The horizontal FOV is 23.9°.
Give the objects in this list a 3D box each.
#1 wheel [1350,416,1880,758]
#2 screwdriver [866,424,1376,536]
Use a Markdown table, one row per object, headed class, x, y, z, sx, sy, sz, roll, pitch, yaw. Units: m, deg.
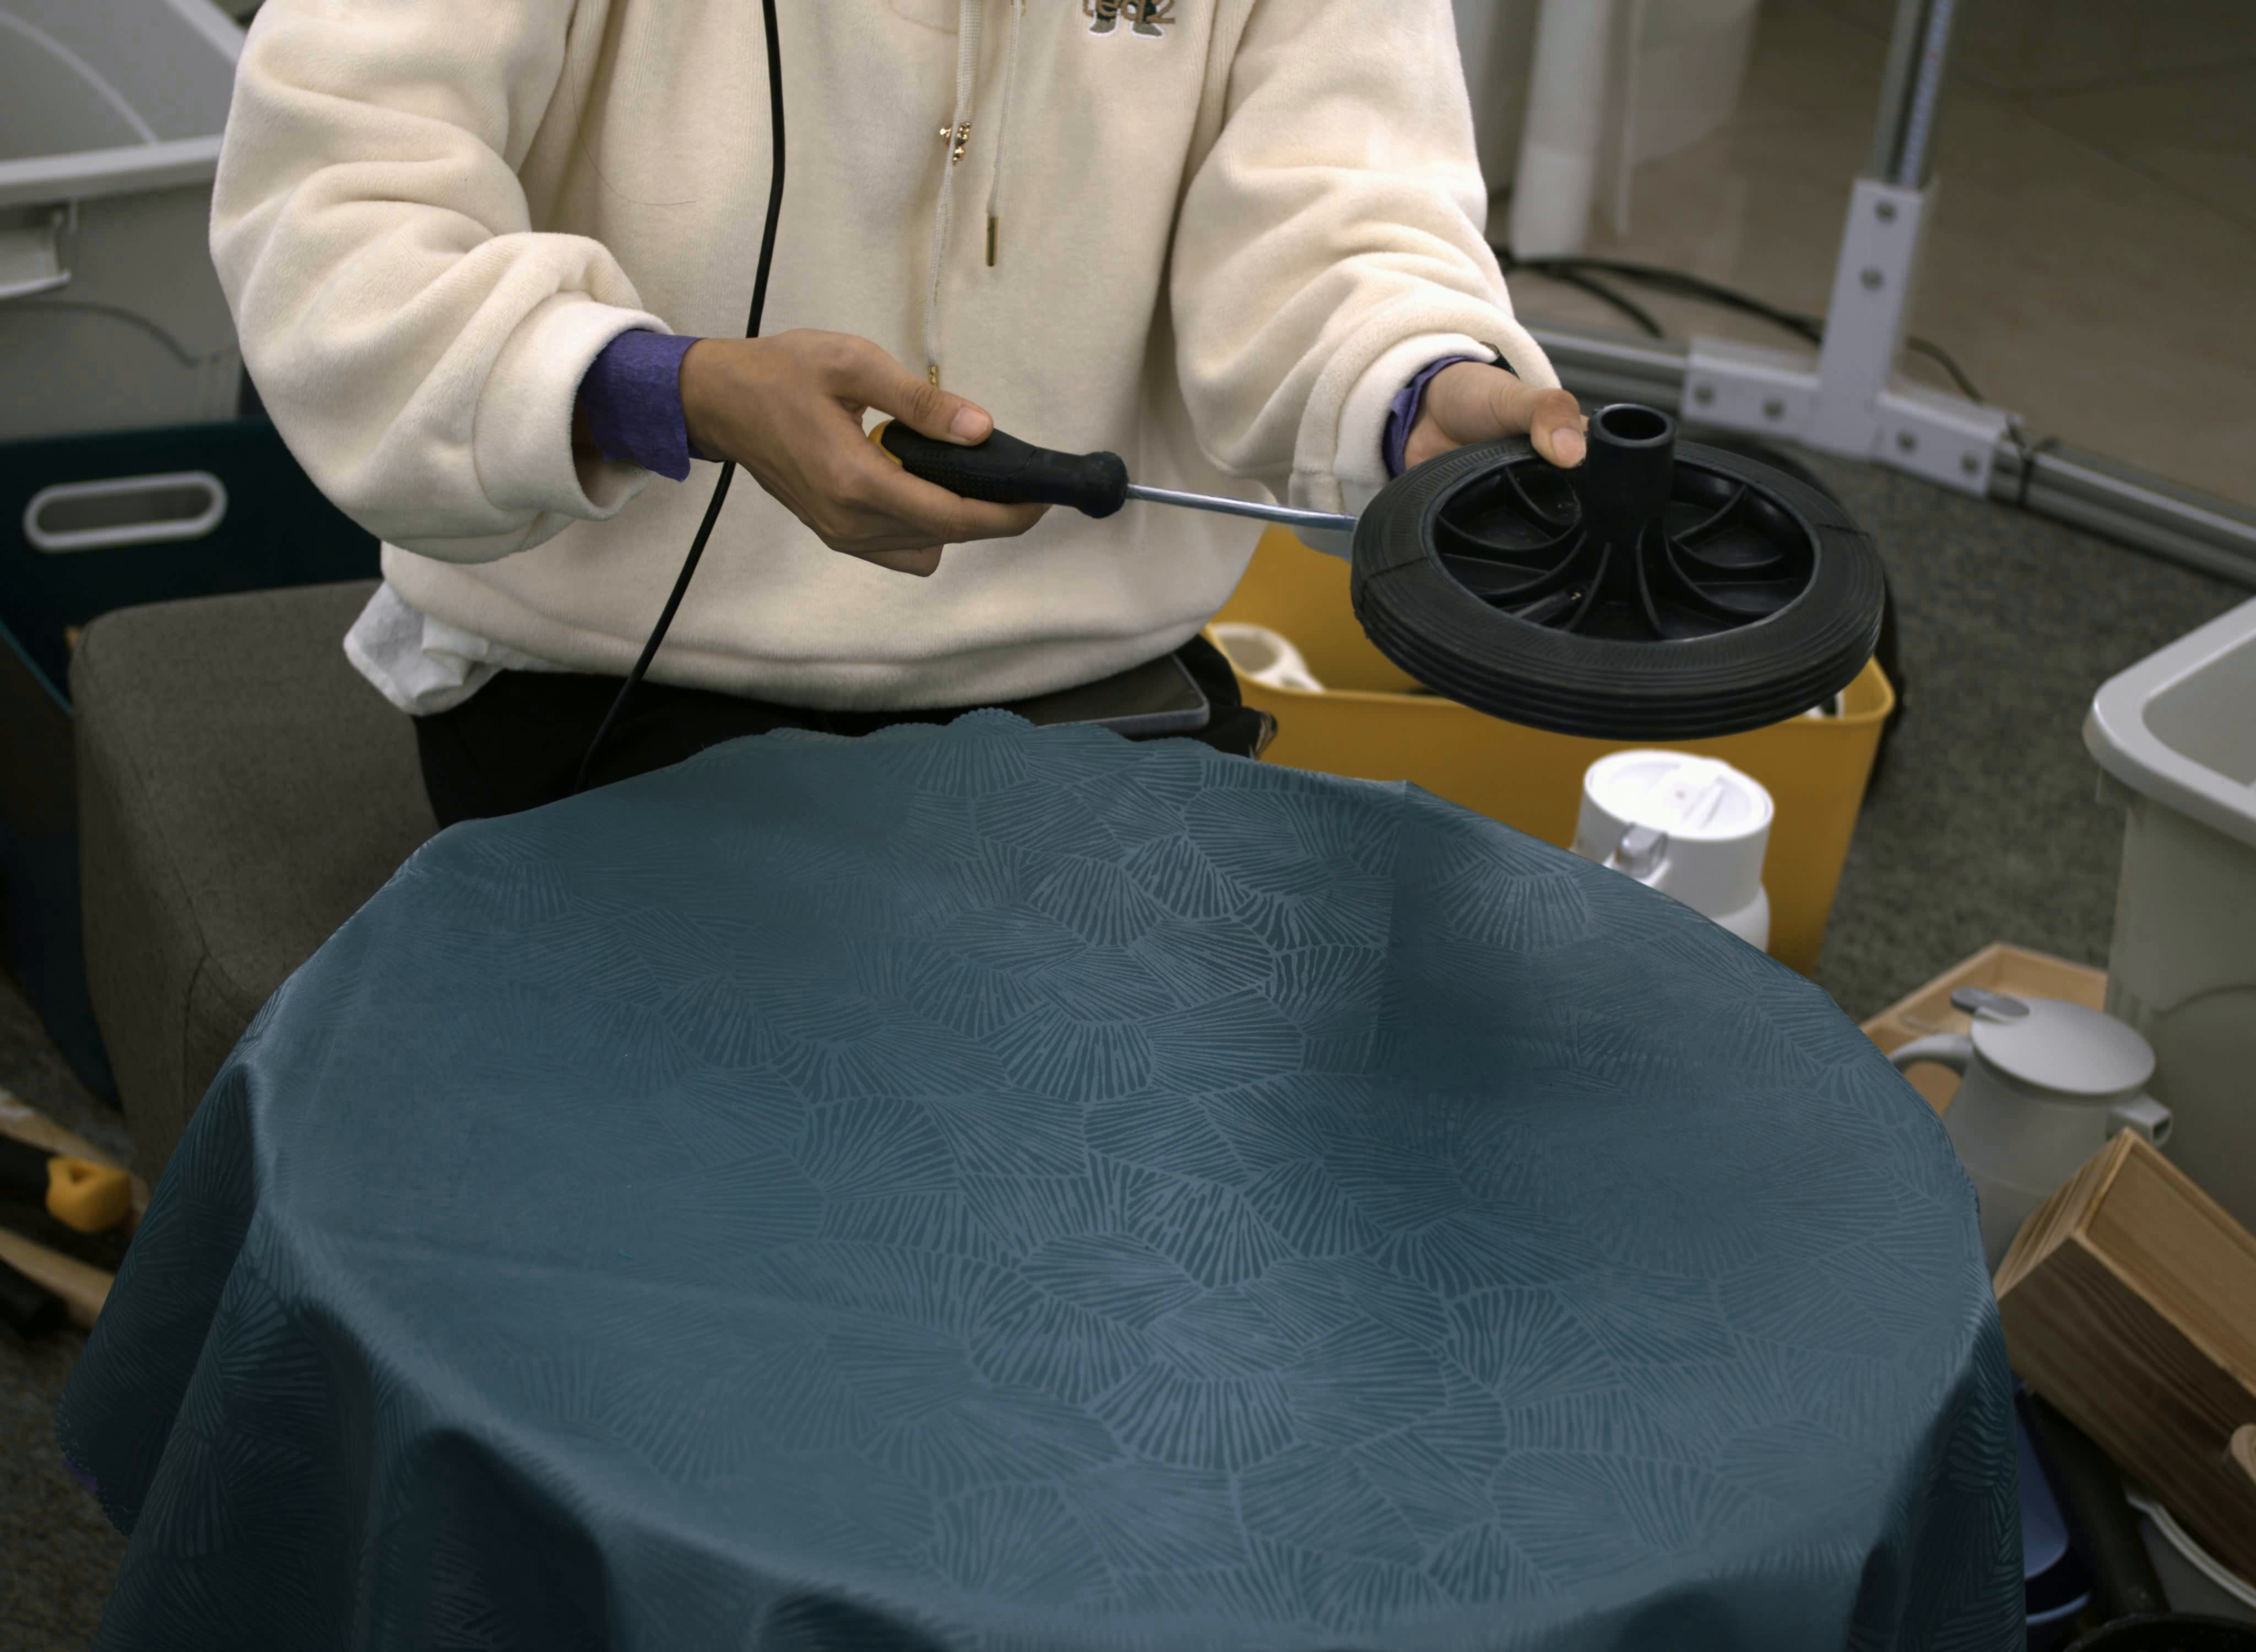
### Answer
| class | x | y | z | sx | sy | sz | roll | pitch | yaw |
| --- | --- | --- | --- | --- | --- | --- | --- | --- | --- |
| wheel | 0.172 | -0.101 | 1.866 | 0.188 | 0.079 | 0.190 | 14 | 36 | 18 |
| screwdriver | -0.003 | -0.118 | 1.909 | 0.198 | 0.031 | 0.031 | 12 | 27 | 21 |
